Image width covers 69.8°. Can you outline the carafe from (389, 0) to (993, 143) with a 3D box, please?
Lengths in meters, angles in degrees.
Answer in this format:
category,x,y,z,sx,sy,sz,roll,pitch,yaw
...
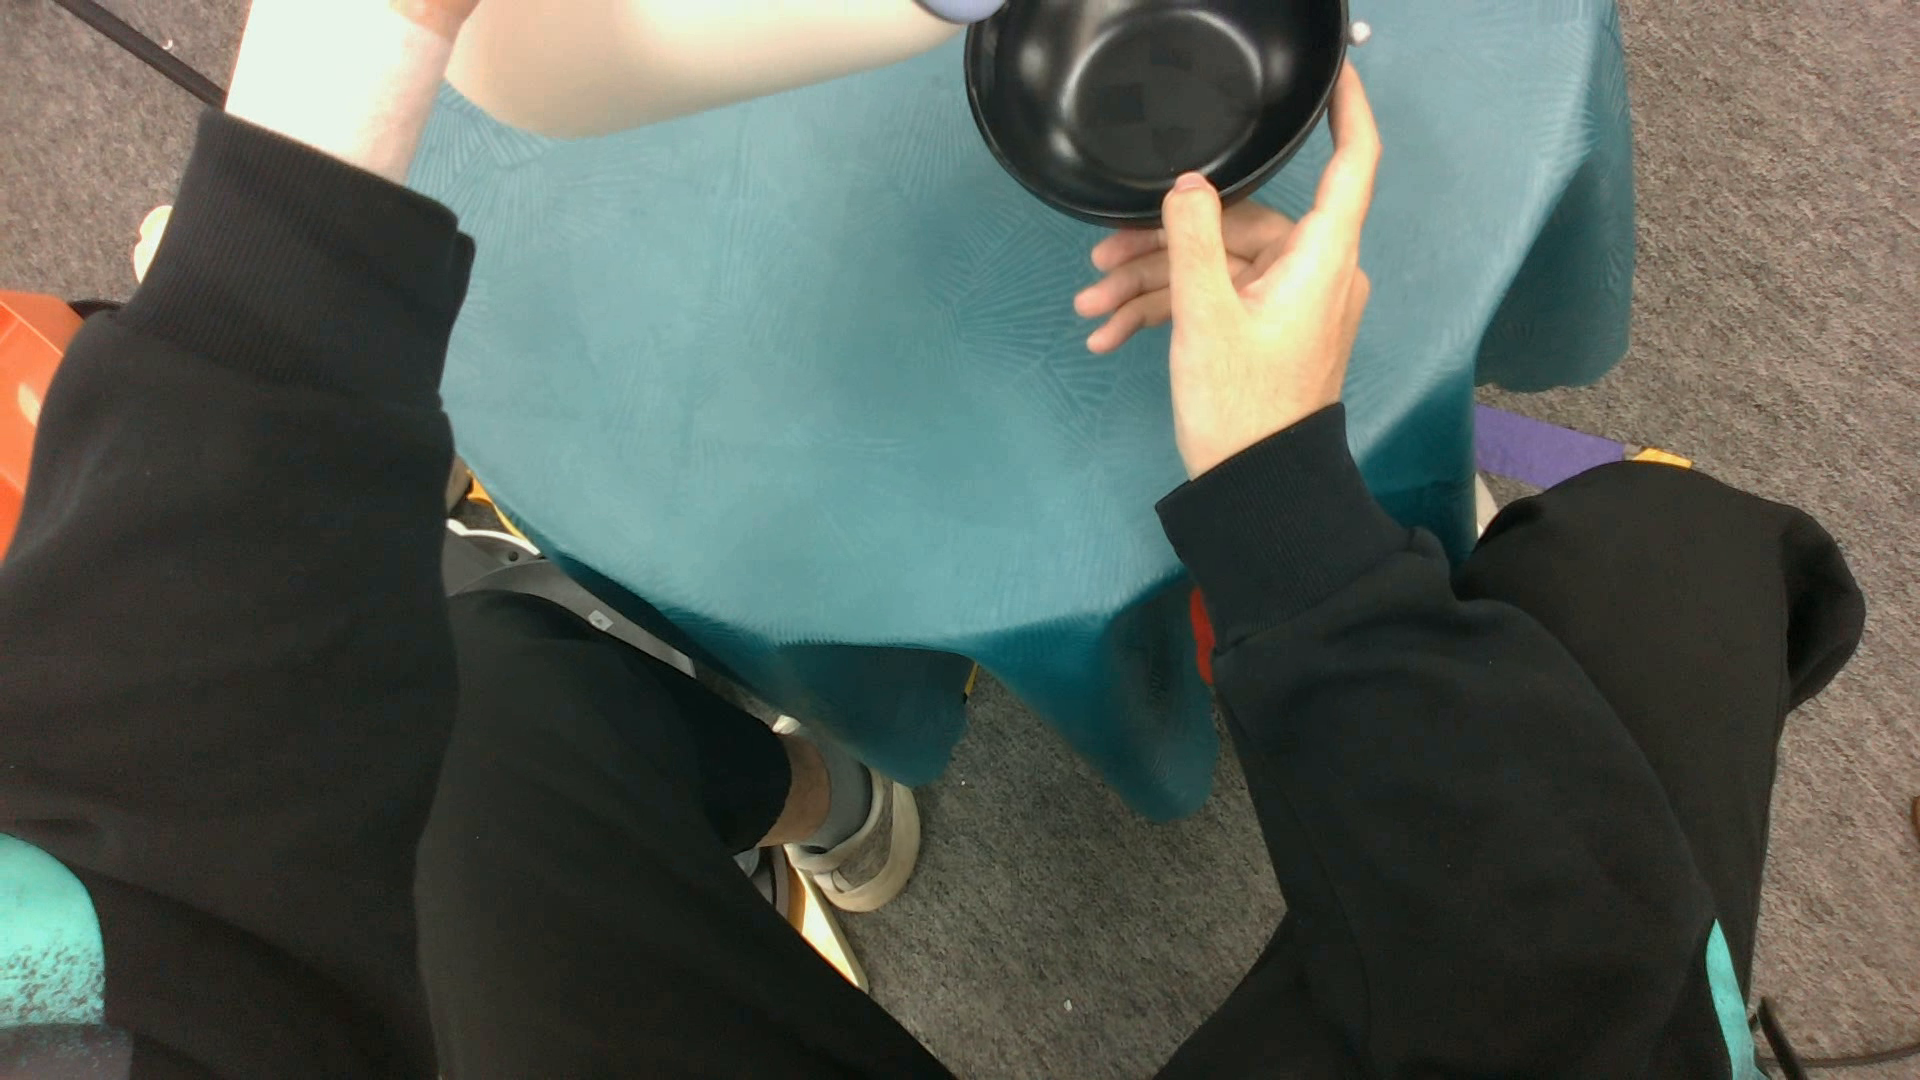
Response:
category,x,y,z,sx,sy,sz,roll,pitch,yaw
carafe,-0.096,-0.210,0.416,0.182,0.191,0.132,-5,80,31

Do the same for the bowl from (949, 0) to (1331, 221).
category,x,y,z,sx,sy,sz,roll,pitch,yaw
bowl,0.069,-0.181,0.522,0.140,0.050,0.140,-2,80,14
